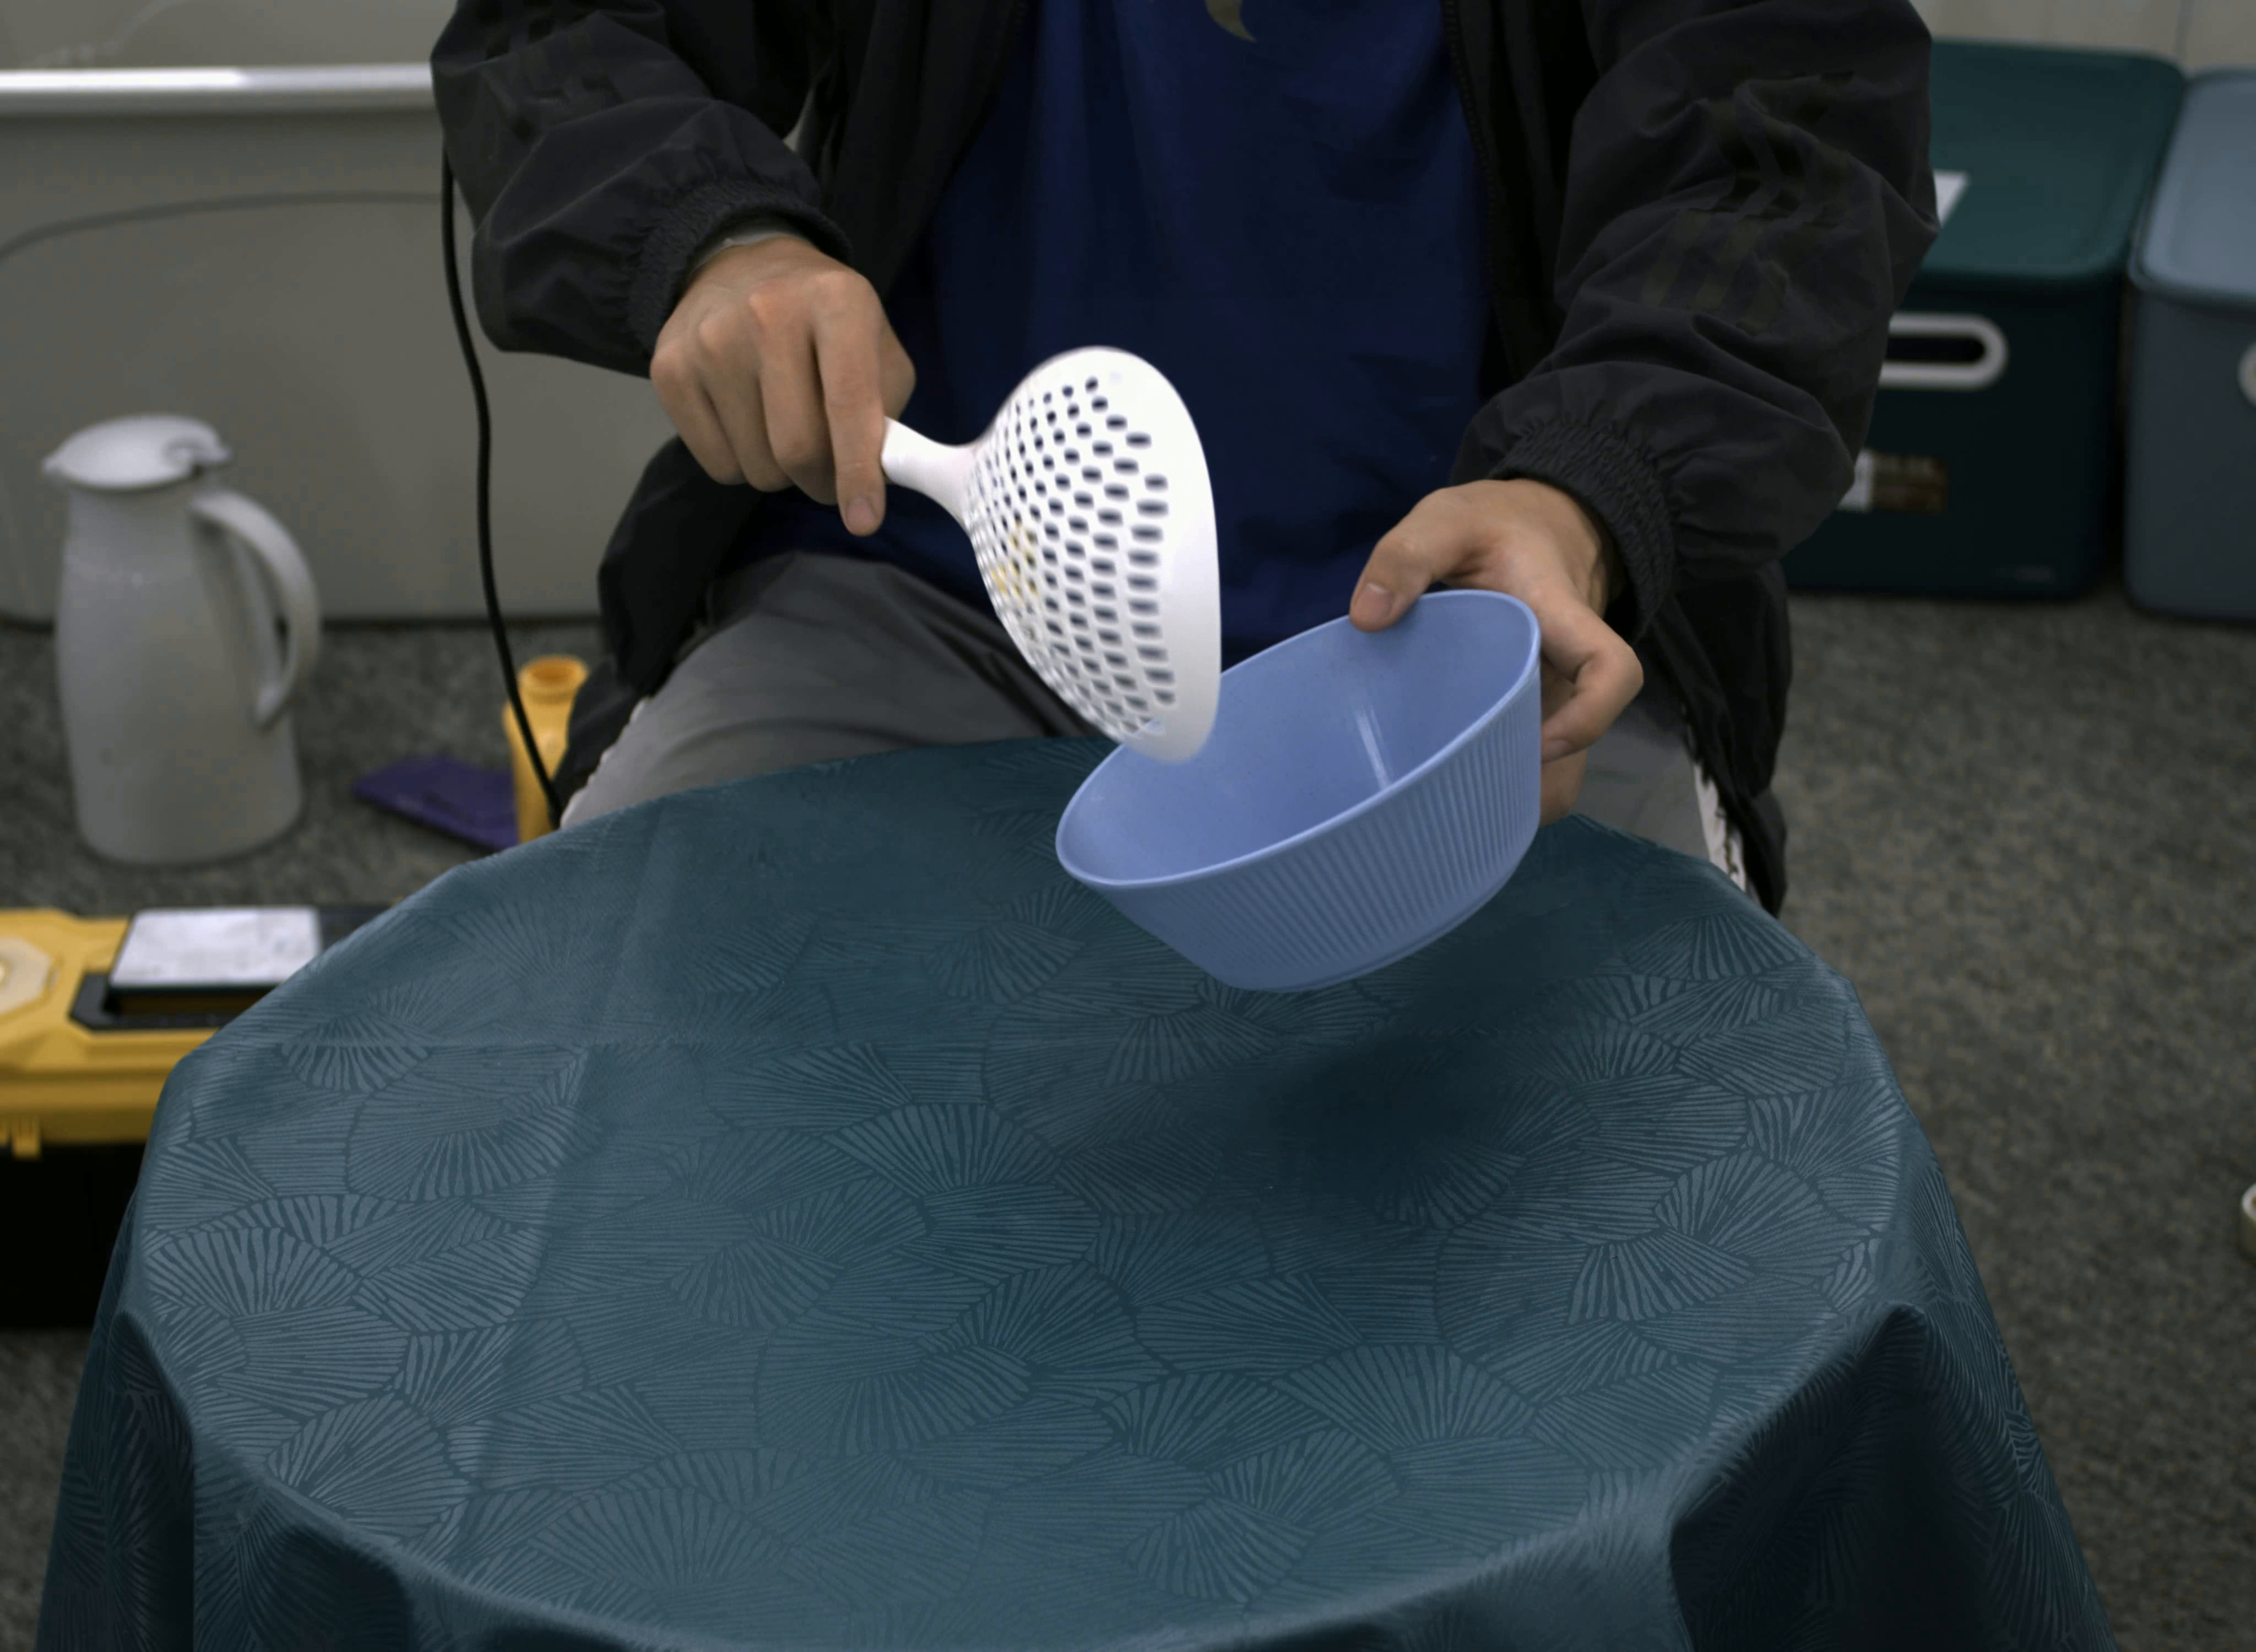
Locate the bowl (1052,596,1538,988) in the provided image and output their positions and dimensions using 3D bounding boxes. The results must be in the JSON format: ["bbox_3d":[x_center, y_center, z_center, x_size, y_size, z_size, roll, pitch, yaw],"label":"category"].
[{"bbox_3d":[0.067,-0.004,1.854,0.175,0.070,0.178,-24,19,9],"label":"bowl"}]

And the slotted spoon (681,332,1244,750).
[{"bbox_3d":[-0.062,-0.116,1.904,0.050,0.136,0.348,-13,21,-24],"label":"slotted spoon"}]
